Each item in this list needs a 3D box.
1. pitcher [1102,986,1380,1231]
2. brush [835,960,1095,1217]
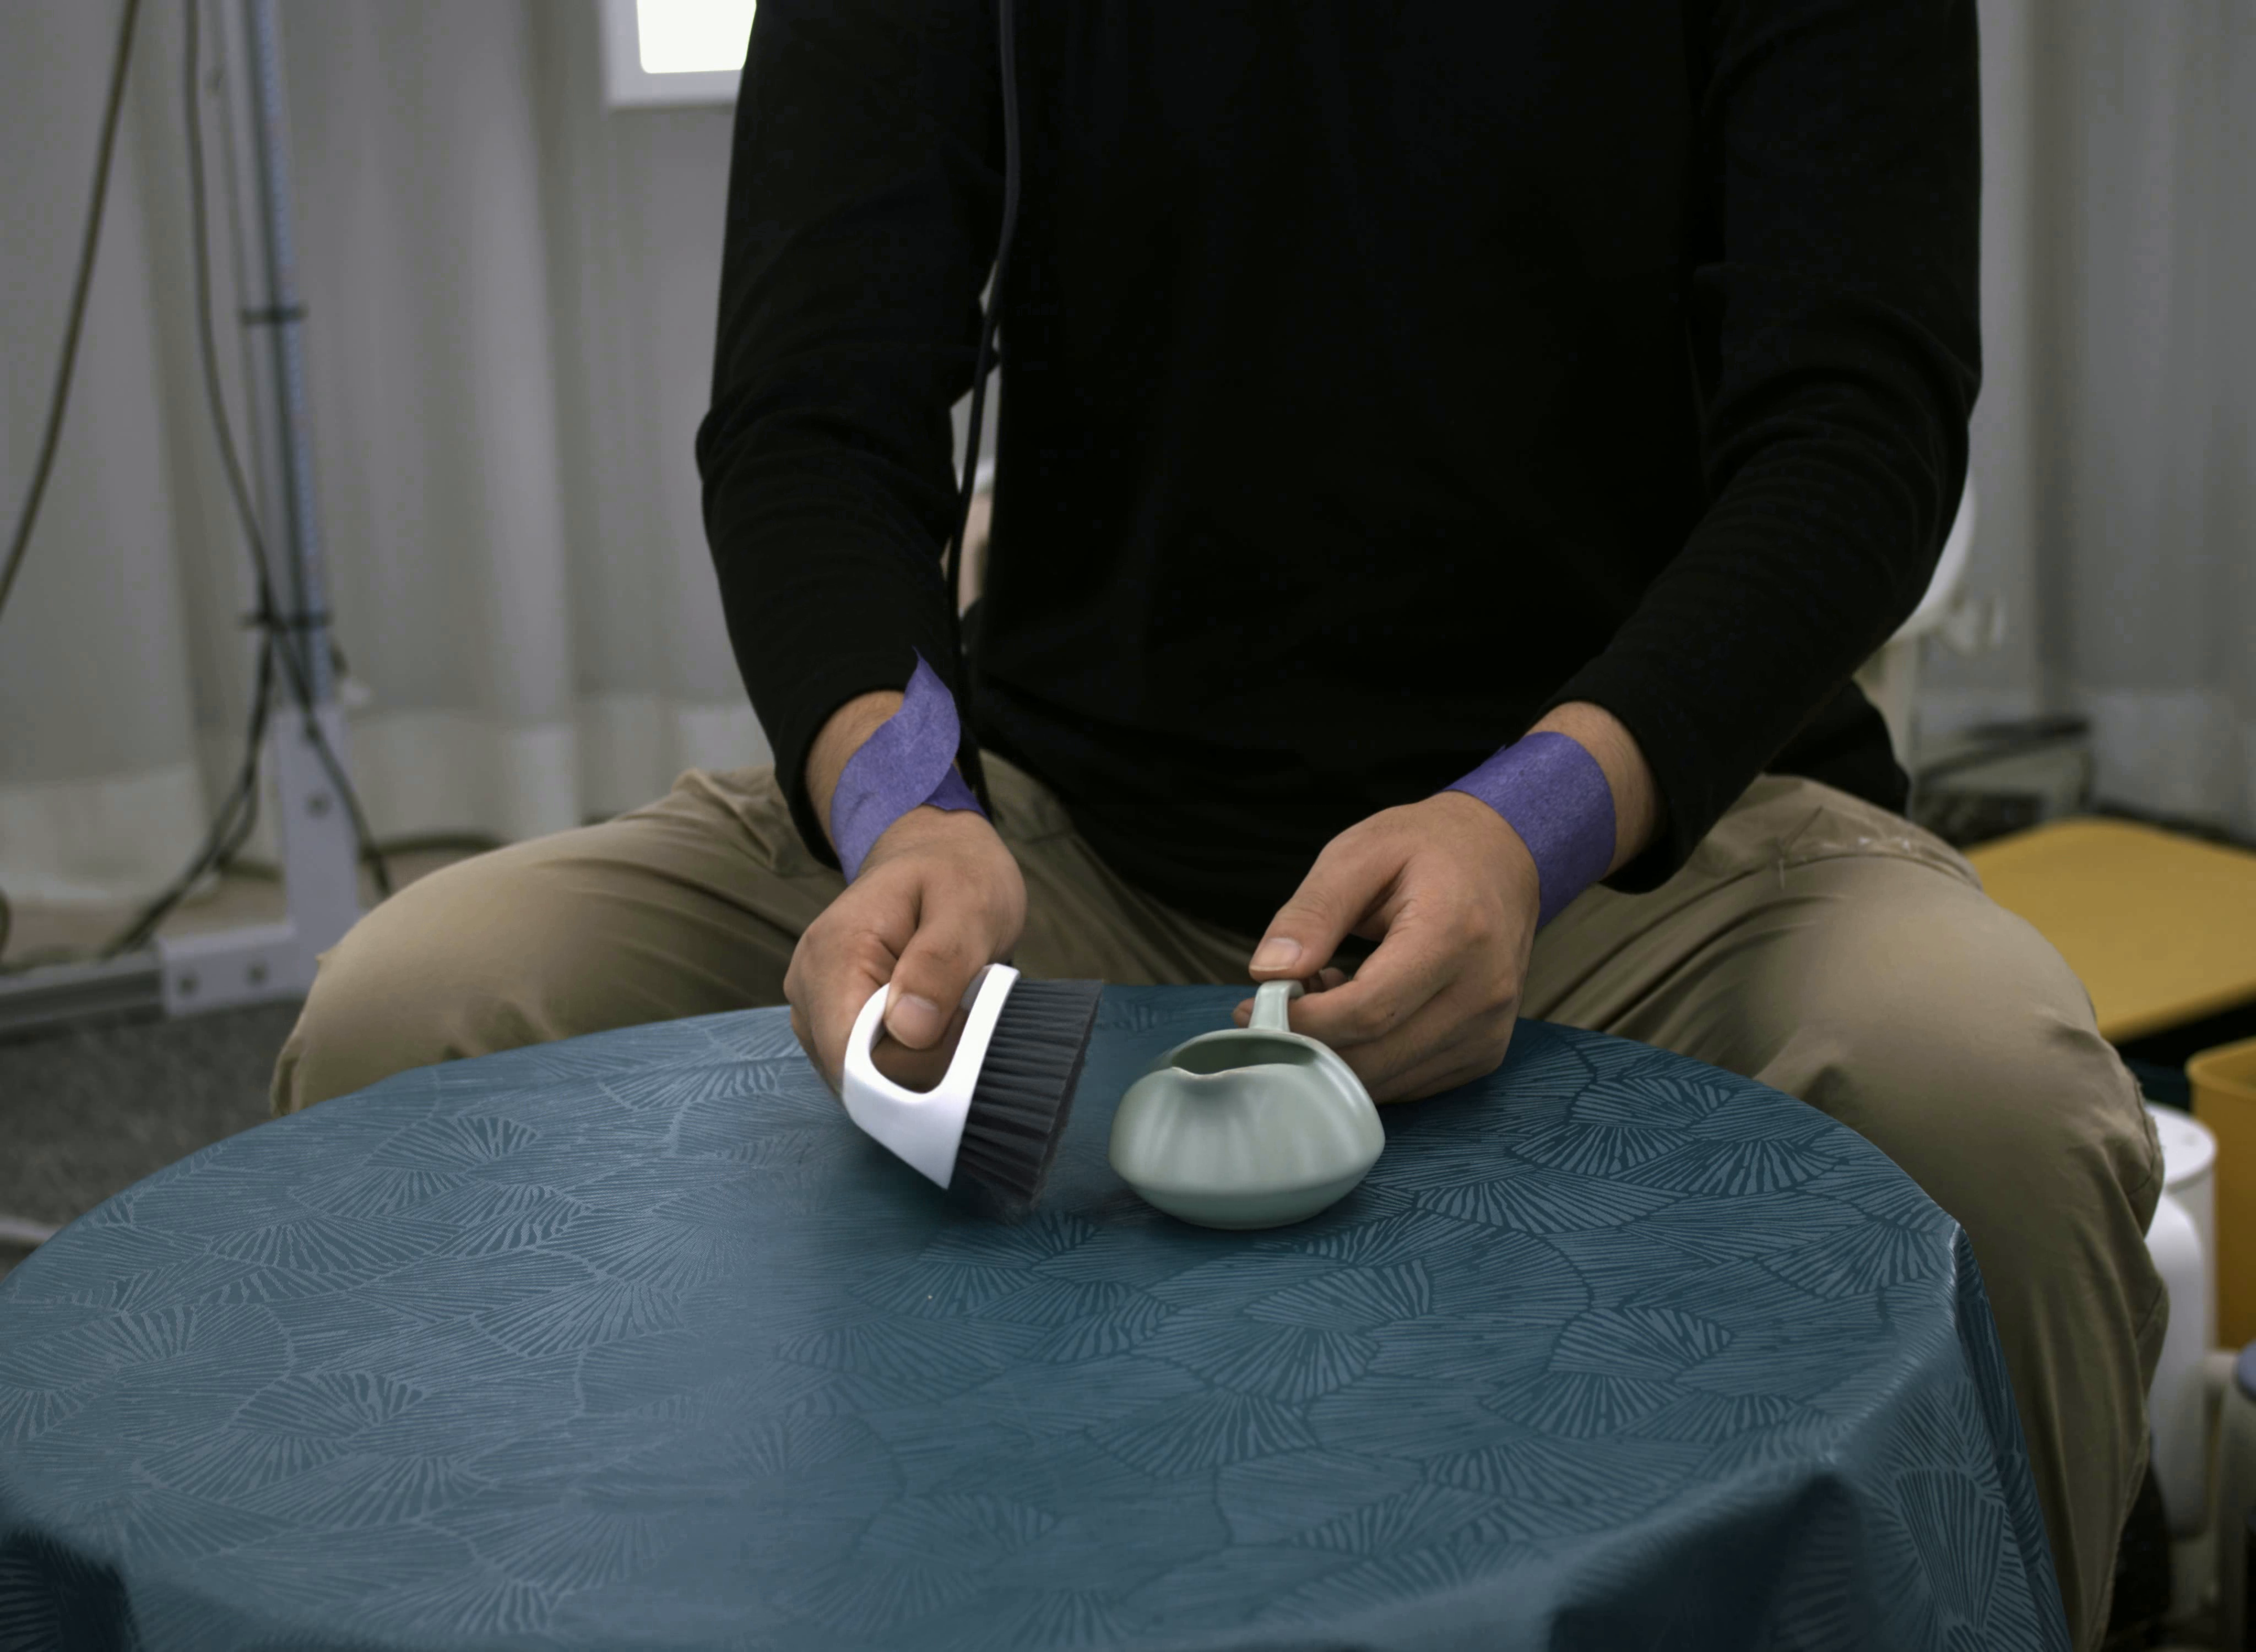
[{"bbox_3d":[0.038,0.088,1.701,0.086,0.060,0.108,2,12,15],"label":"pitcher"},{"bbox_3d":[-0.055,0.076,1.721,0.072,0.050,0.100,16,30,3],"label":"brush"}]
